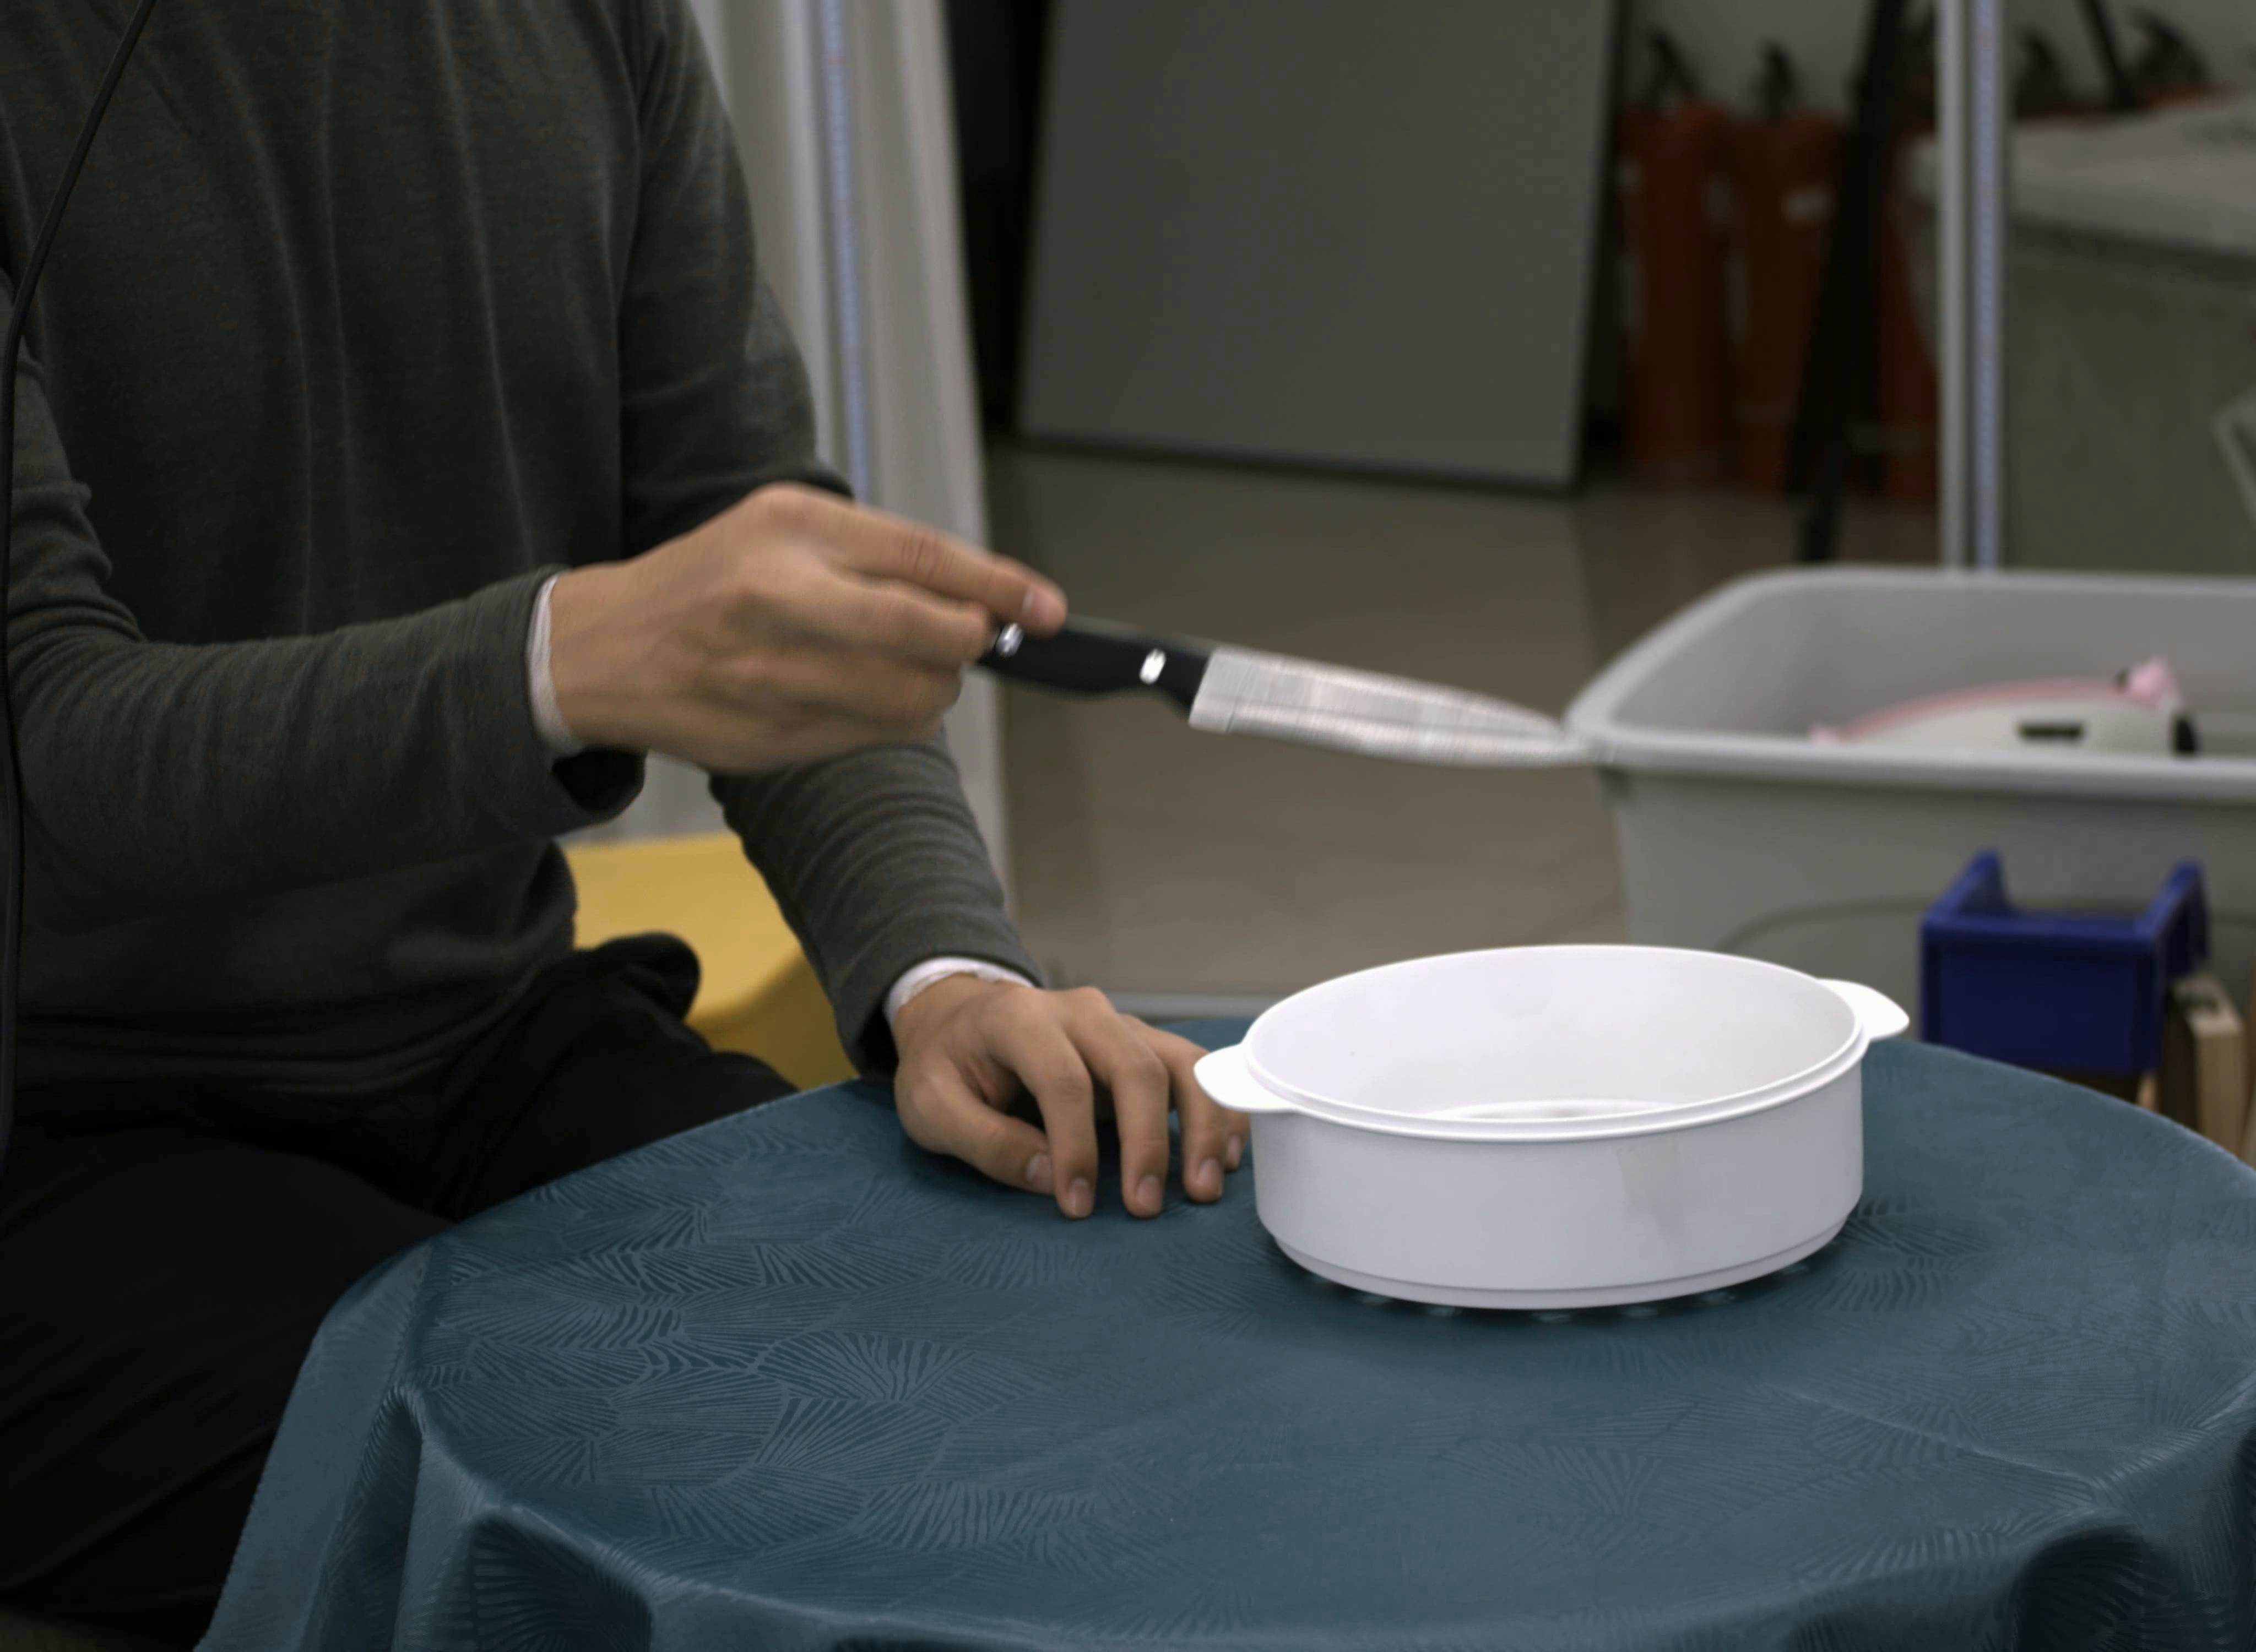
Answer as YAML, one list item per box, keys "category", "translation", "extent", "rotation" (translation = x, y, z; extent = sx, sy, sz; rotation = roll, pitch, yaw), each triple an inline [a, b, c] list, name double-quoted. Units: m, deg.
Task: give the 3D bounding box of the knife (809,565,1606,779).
- category: "knife"
  translation: [0.024, -0.044, 1.559]
  extent: [0.235, 0.025, 0.016]
  rotation: [12, -1, 0]

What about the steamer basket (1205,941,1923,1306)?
- category: "steamer basket"
  translation: [0.140, 0.094, 1.700]
  extent: [0.226, 0.070, 0.203]
  rotation: [-7, 13, -9]
